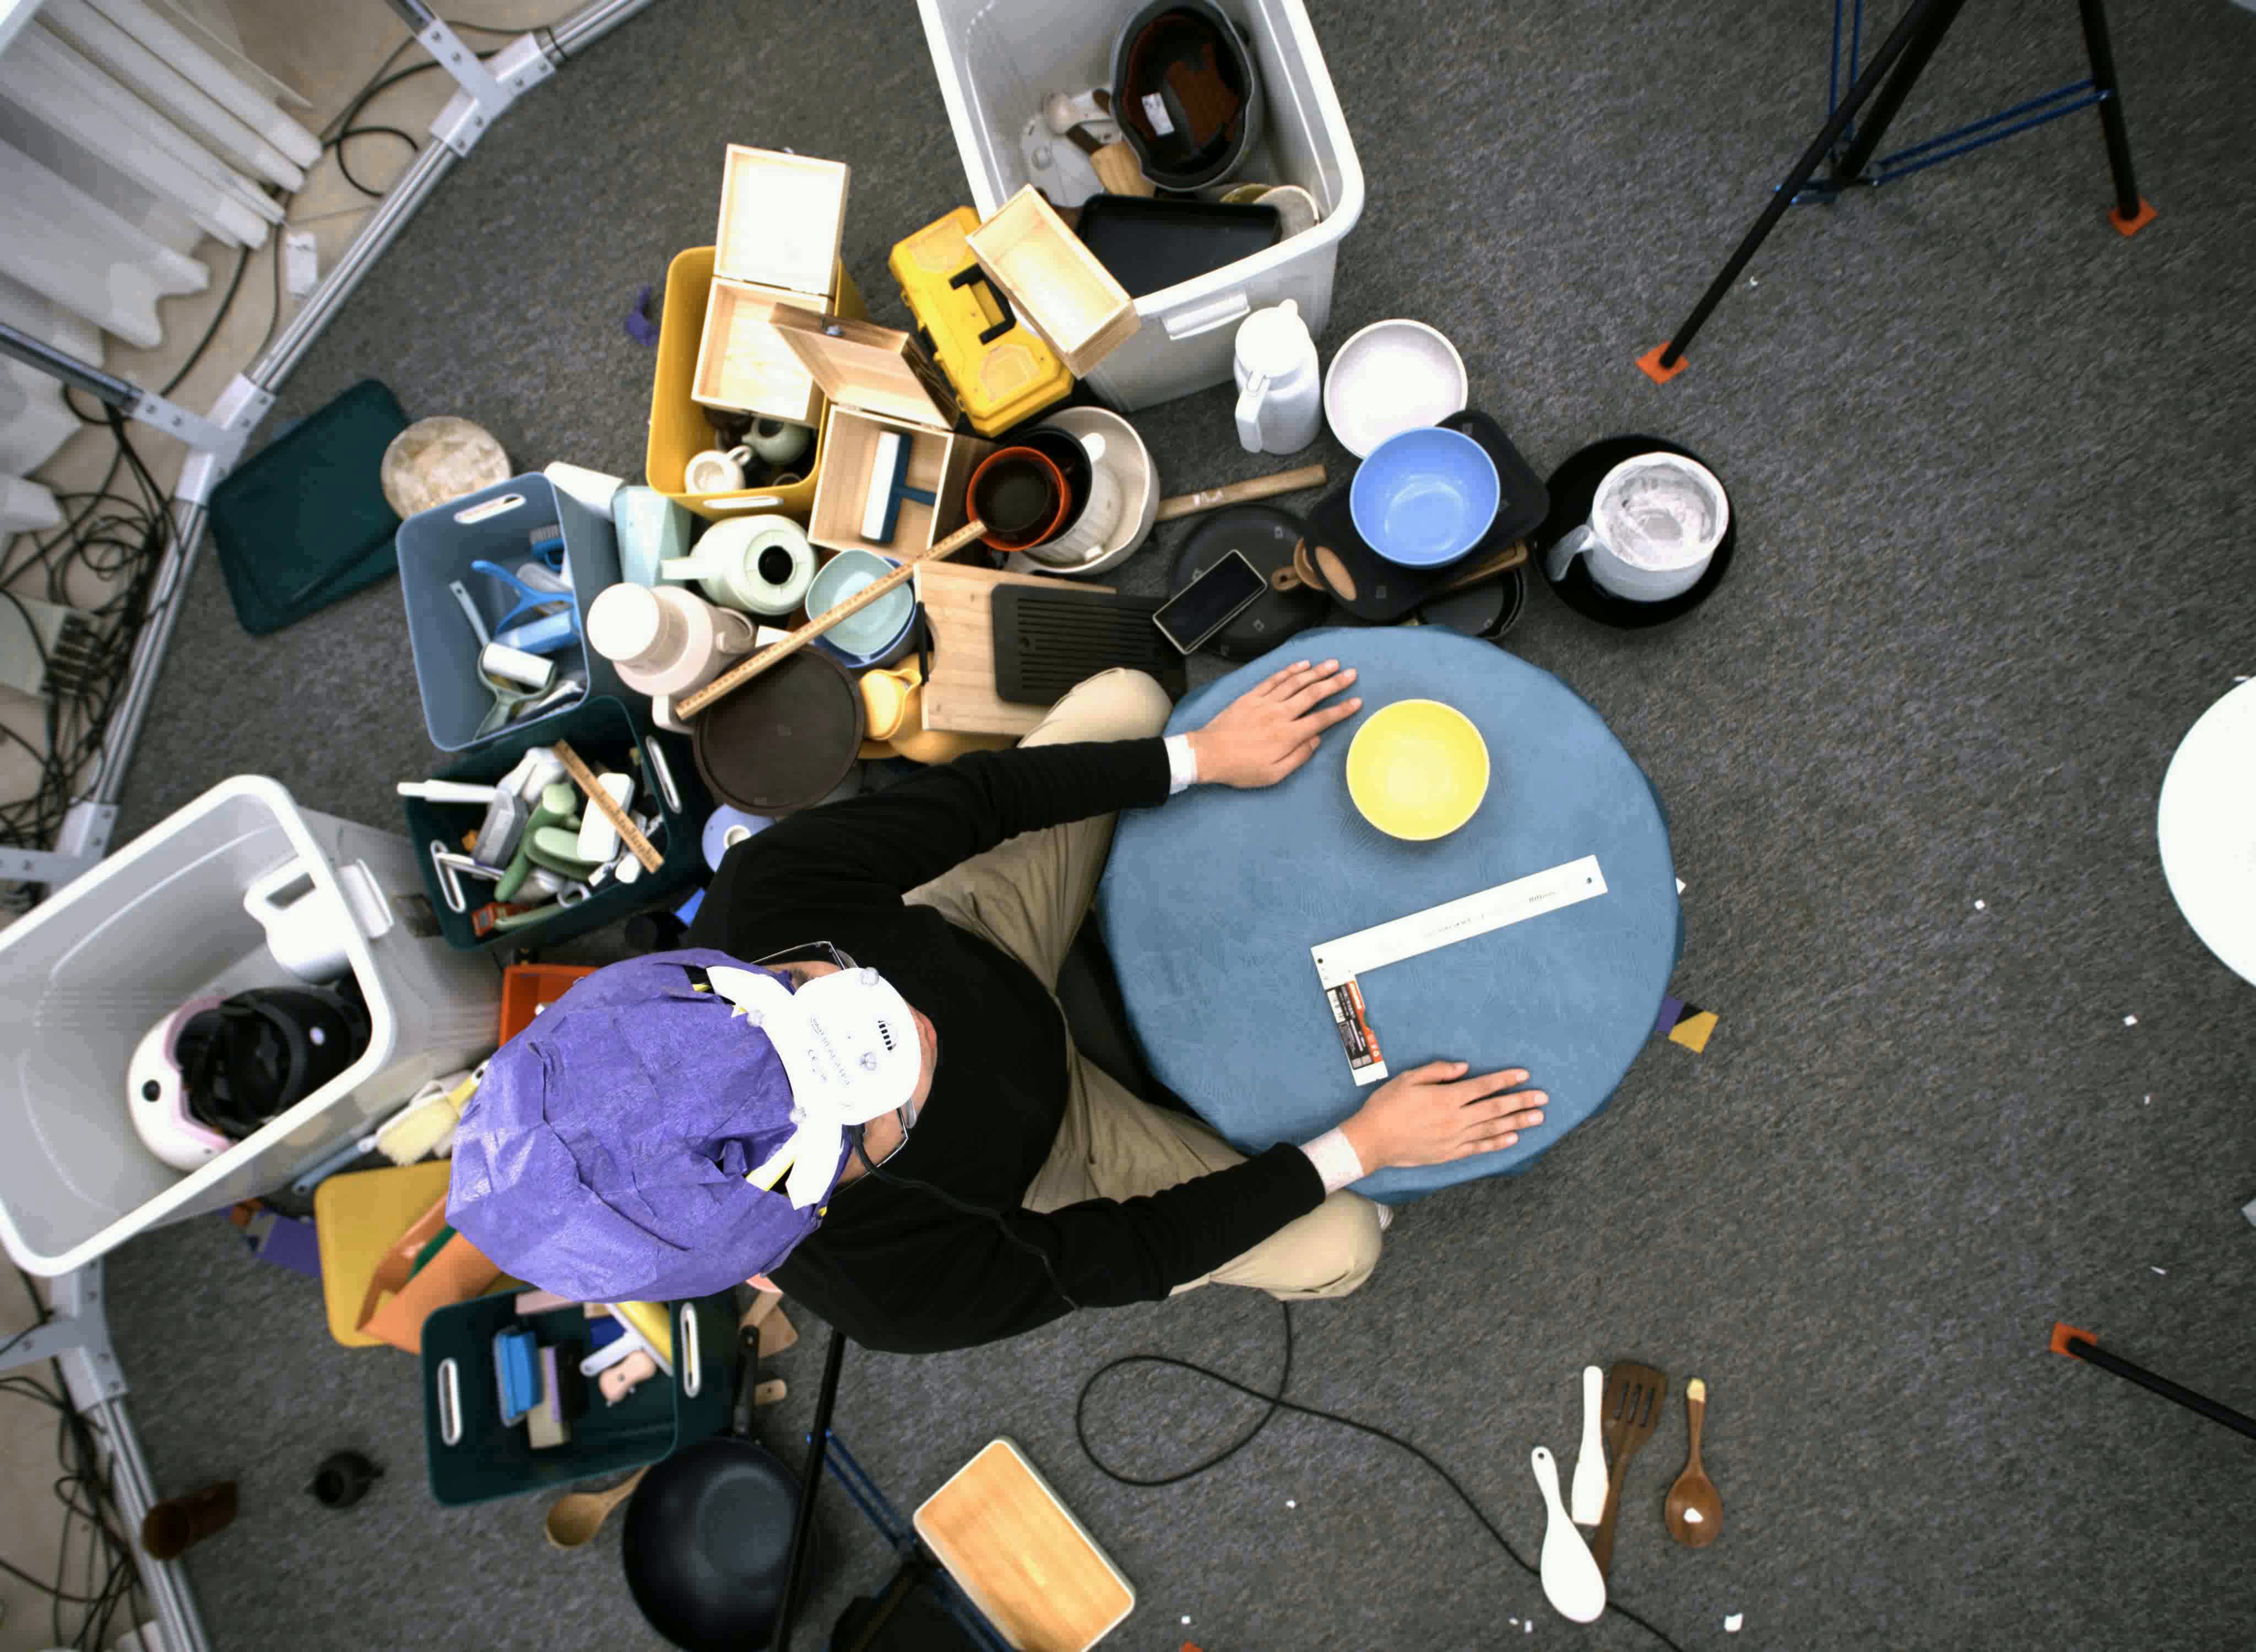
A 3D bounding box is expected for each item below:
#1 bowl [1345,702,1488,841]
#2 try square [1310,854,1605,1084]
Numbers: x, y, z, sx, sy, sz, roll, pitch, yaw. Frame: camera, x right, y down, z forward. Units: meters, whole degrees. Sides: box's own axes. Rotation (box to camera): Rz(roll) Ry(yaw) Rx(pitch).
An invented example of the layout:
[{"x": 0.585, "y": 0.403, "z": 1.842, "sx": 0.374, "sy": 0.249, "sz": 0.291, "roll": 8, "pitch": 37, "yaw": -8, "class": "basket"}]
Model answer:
[{"x": 0.301, "y": -0.054, "z": 1.434, "sx": 0.146, "sy": 0.060, "sz": 0.144, "roll": -1, "pitch": 84, "yaw": 13, "class": "bowl"}, {"x": 0.359, "y": 0.148, "z": 1.439, "sx": 0.314, "sy": 0.016, "sz": 0.152, "roll": -19, "pitch": 87, "yaw": 8, "class": "try square"}]
